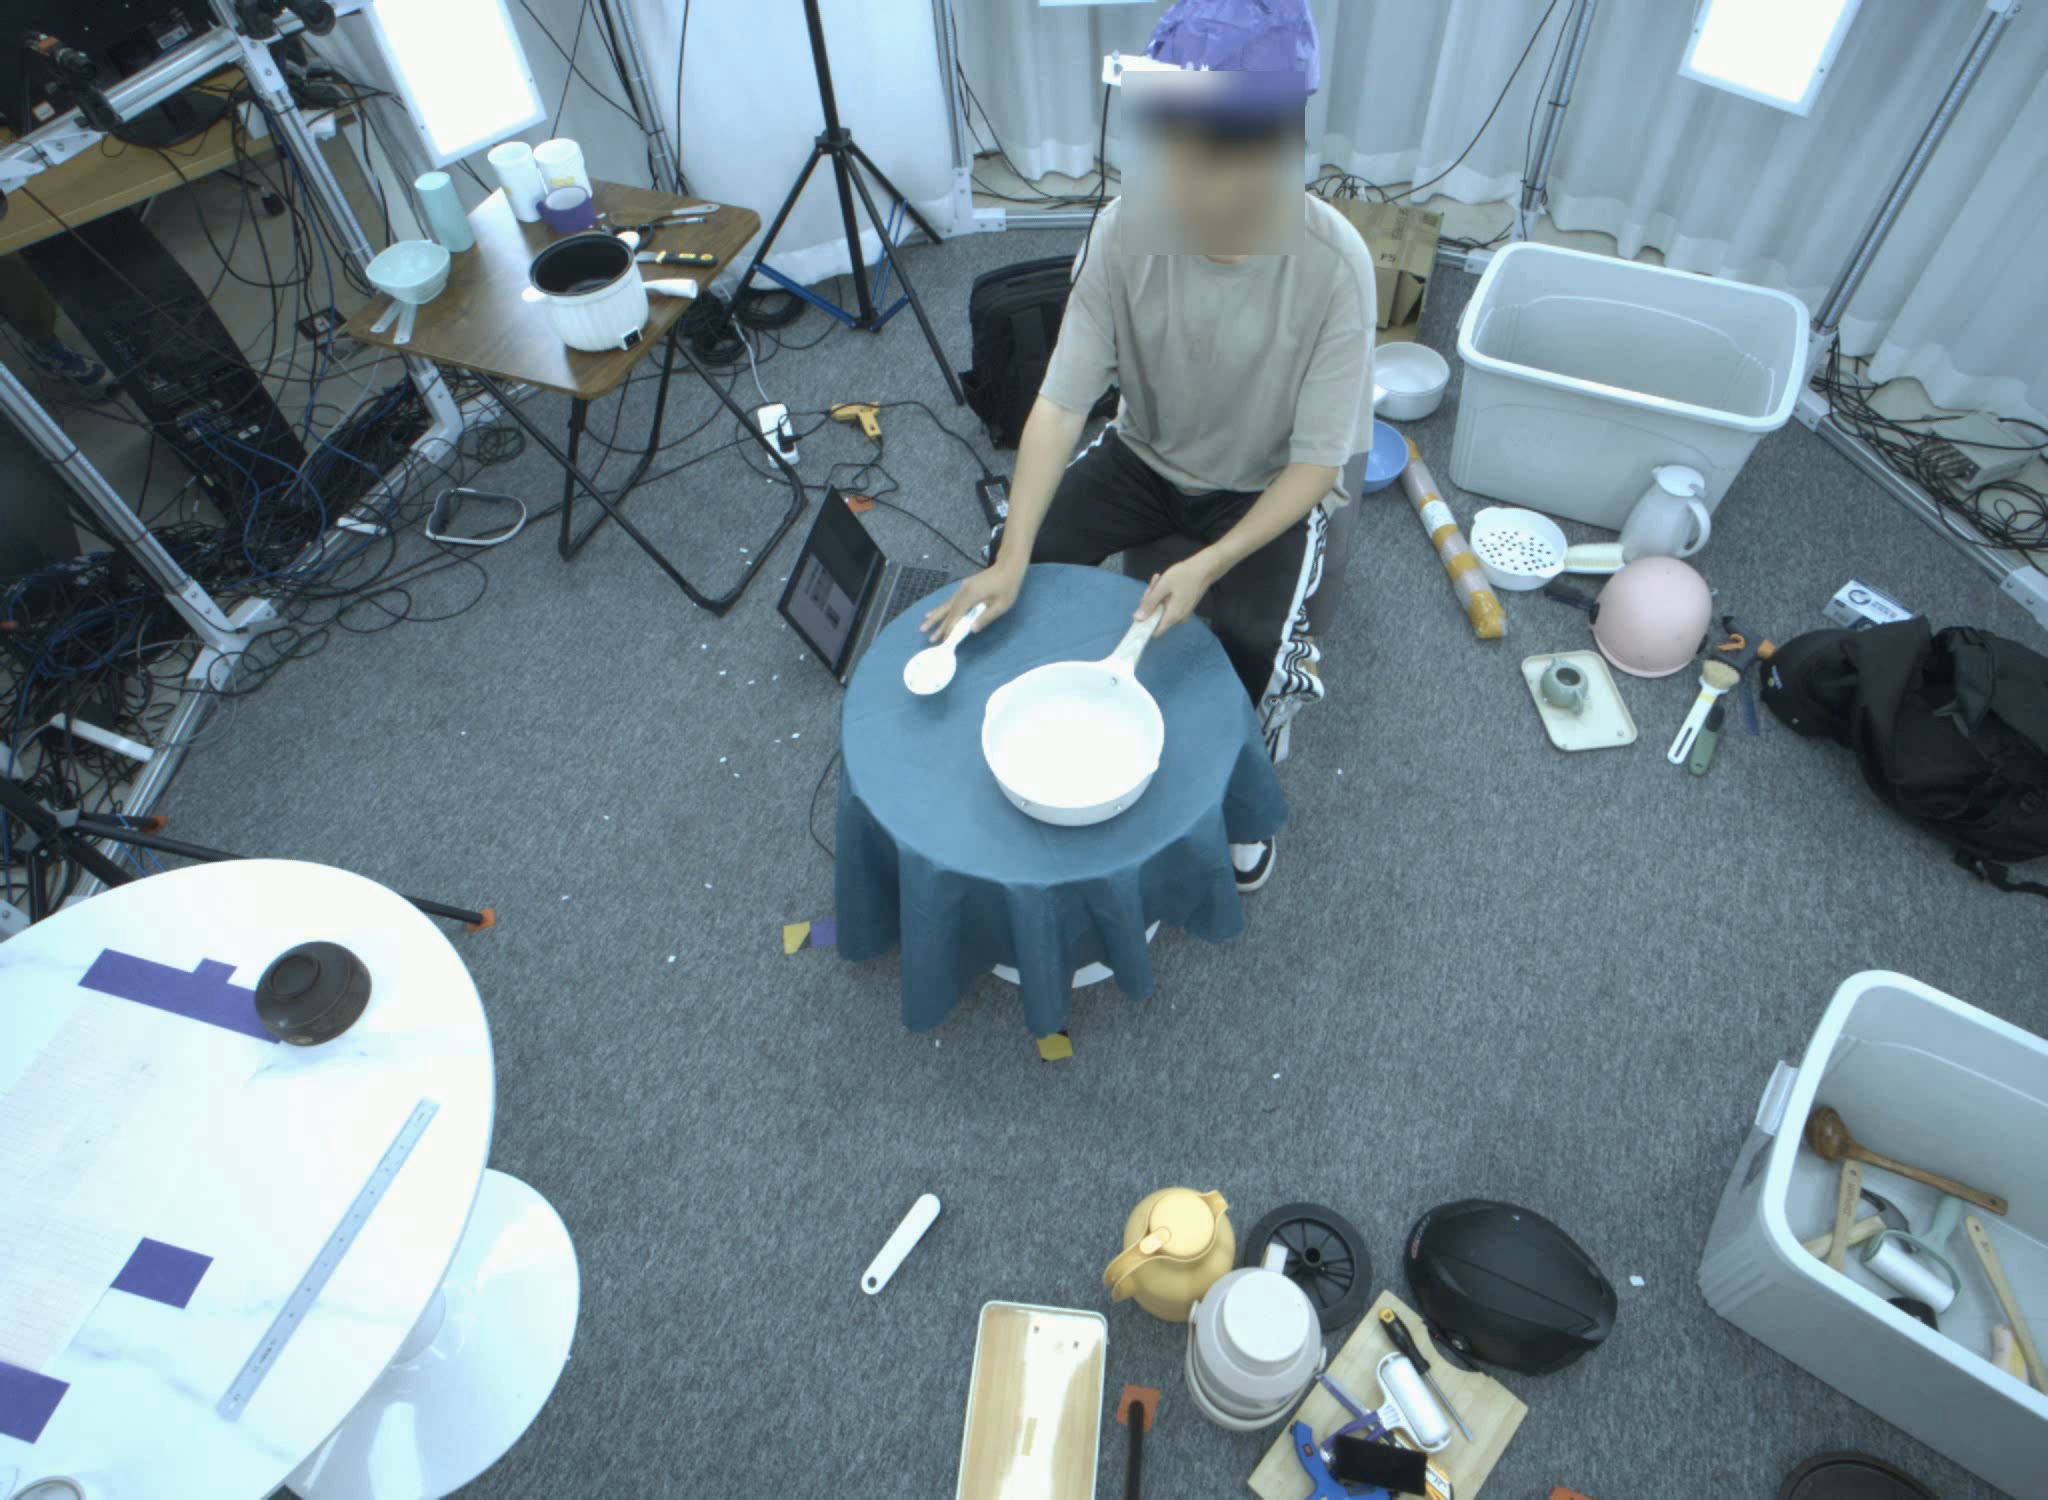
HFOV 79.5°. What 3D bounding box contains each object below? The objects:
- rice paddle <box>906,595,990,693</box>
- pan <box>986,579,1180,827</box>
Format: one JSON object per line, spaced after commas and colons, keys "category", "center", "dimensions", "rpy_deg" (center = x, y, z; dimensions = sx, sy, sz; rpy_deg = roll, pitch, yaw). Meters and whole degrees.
{"category": "rice paddle", "center": [-0.111, -0.159, 1.845], "dimensions": [0.068, 0.029, 0.205], "rpy_deg": [24, 55, 12]}
{"category": "pan", "center": [0.121, -0.070, 1.772], "dimensions": [0.259, 0.103, 0.436], "rpy_deg": [23, 59, 21]}
